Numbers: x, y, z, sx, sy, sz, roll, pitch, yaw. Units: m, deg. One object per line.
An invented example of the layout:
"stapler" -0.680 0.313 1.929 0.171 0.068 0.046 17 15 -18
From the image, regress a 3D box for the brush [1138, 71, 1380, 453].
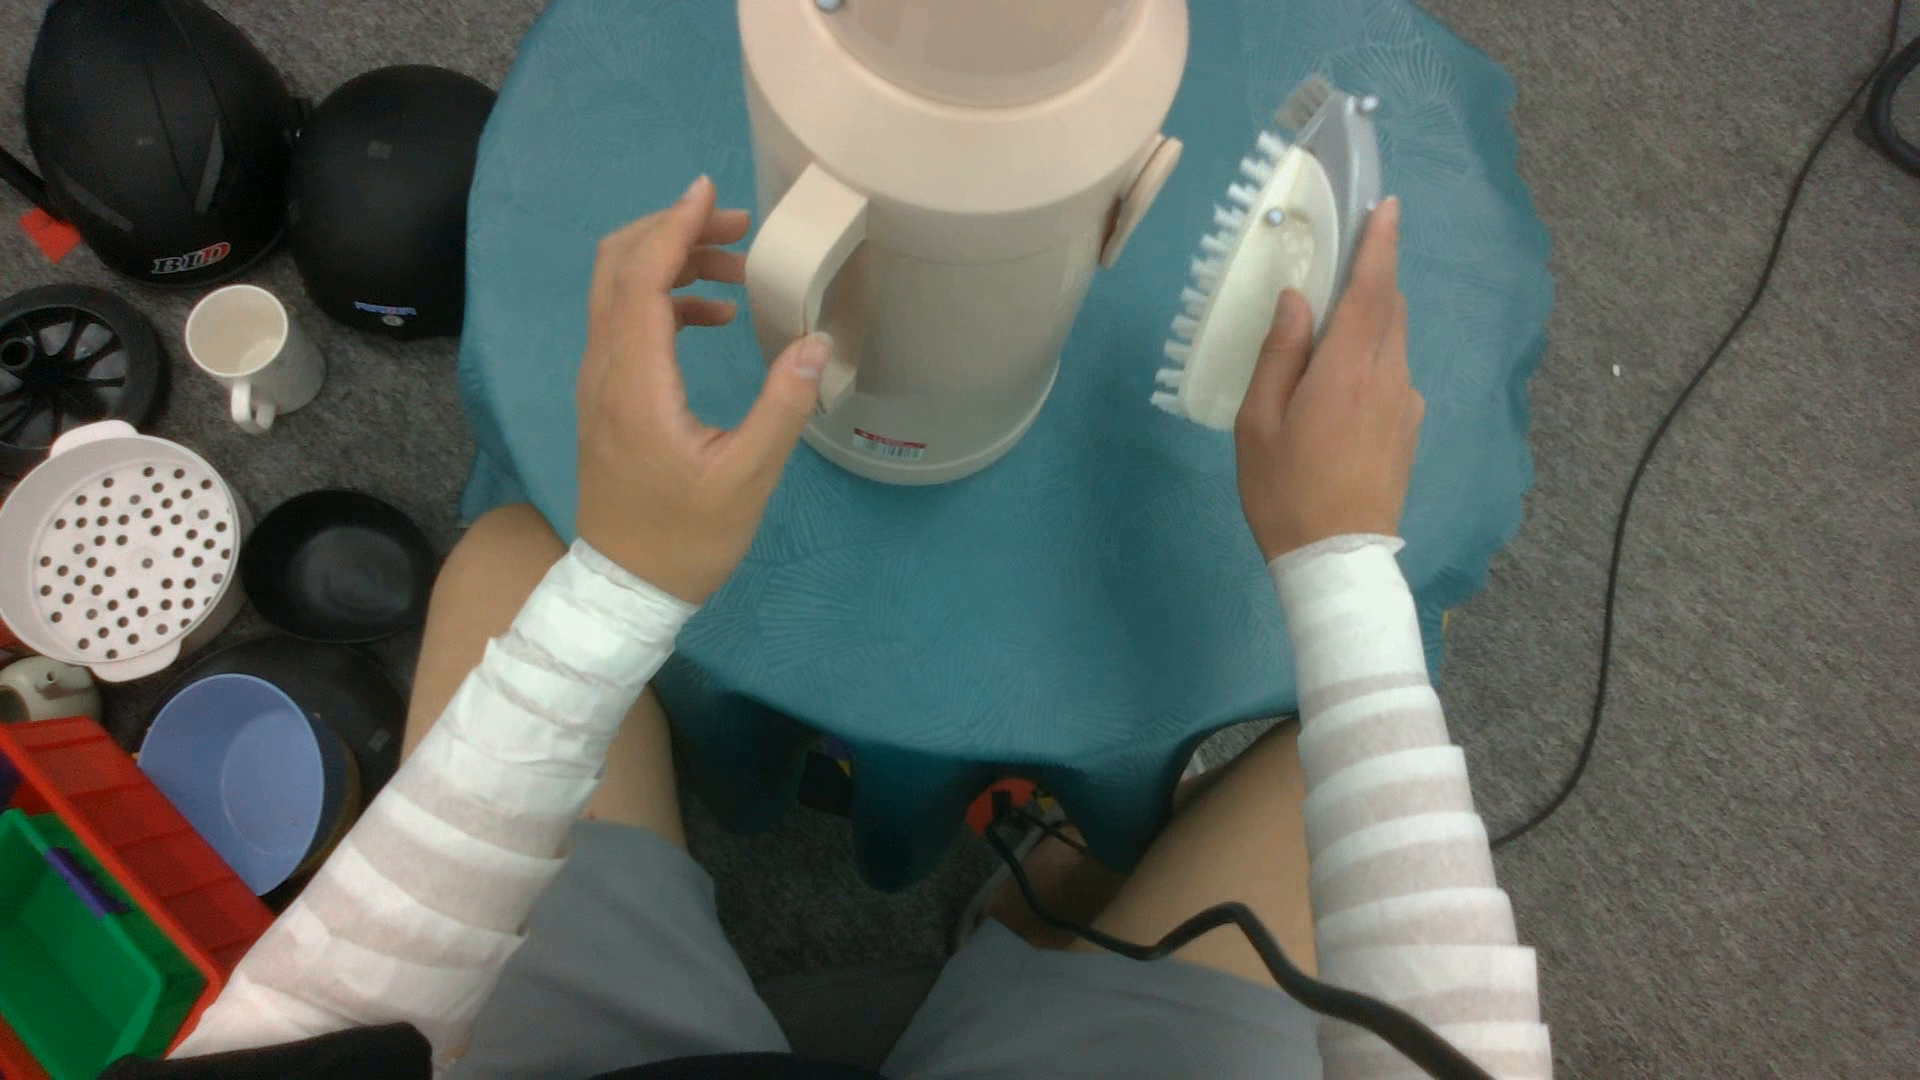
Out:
"brush" 0.151 -0.124 0.642 0.061 0.094 0.175 6 111 -36

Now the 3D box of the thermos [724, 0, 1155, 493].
"thermos" -0.023 -0.142 0.585 0.175 0.405 0.207 31 74 3
